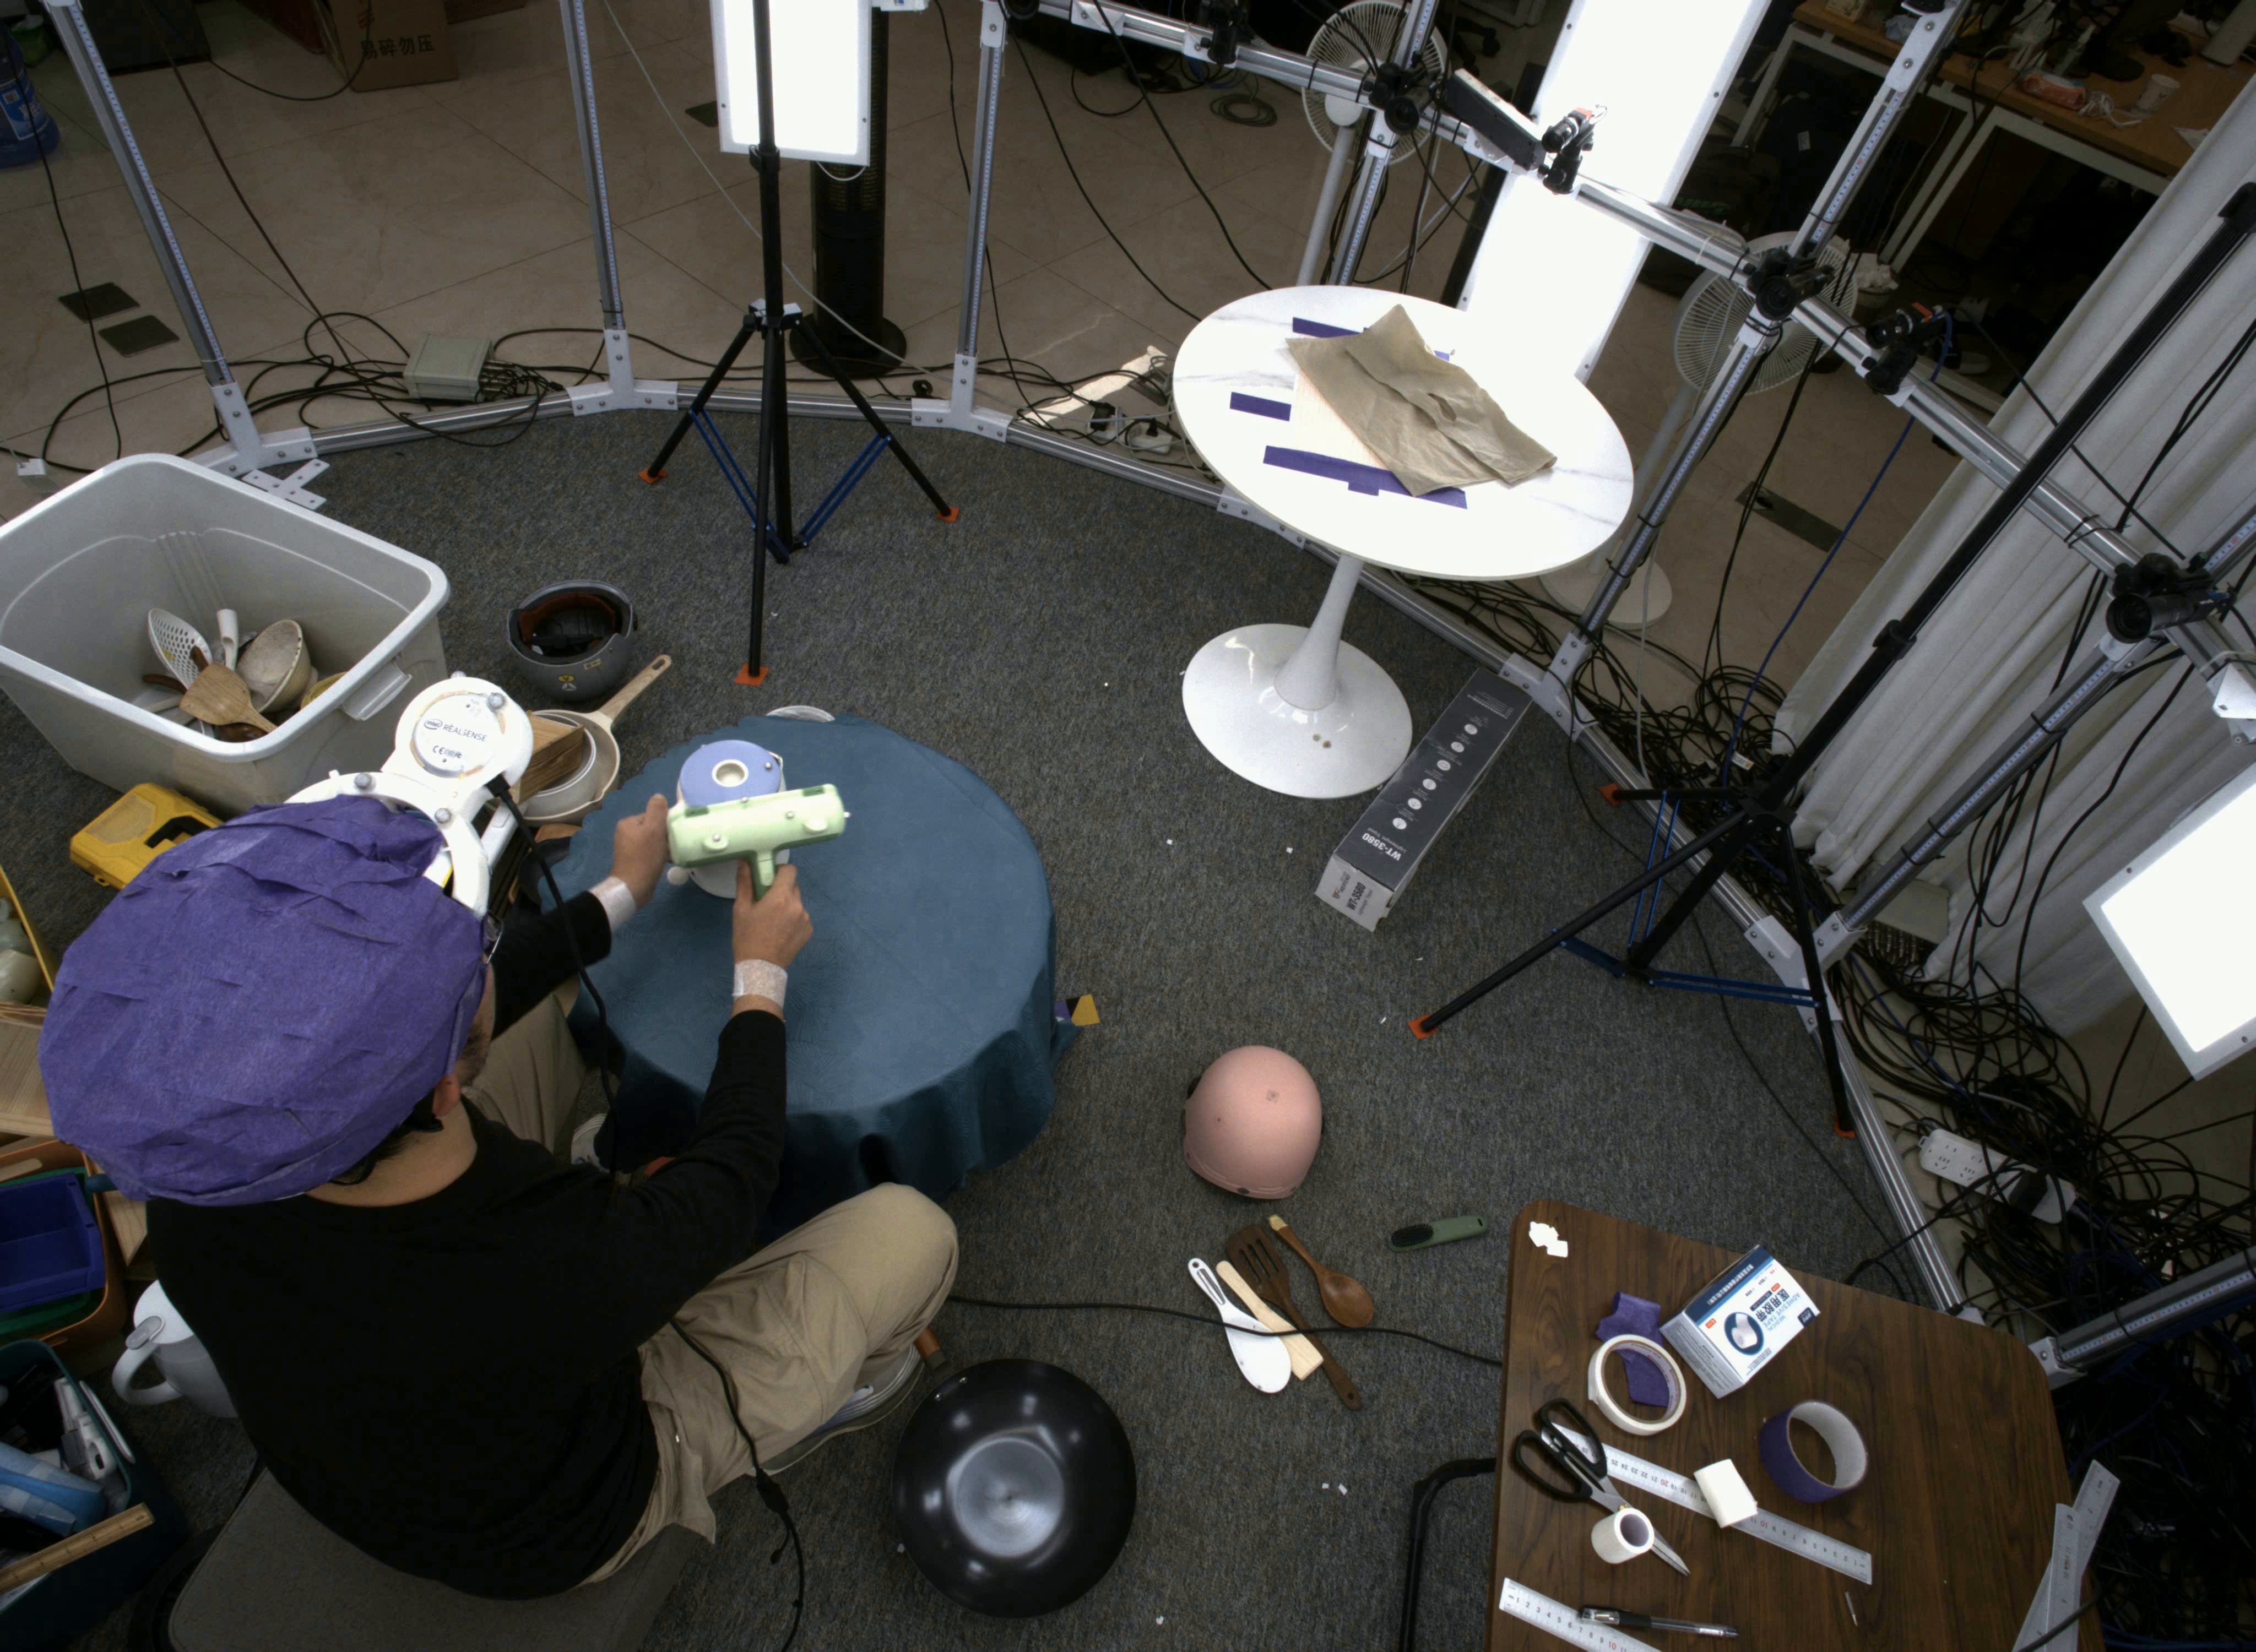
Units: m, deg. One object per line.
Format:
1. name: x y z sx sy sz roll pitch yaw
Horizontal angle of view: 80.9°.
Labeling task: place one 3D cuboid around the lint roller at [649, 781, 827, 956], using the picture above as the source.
1. lint roller: -0.426 0.056 1.462 0.200 0.080 0.187 -15 98 -32

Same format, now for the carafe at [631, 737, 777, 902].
1. carafe: -0.522 0.003 1.579 0.191 0.186 0.129 -32 64 -29
